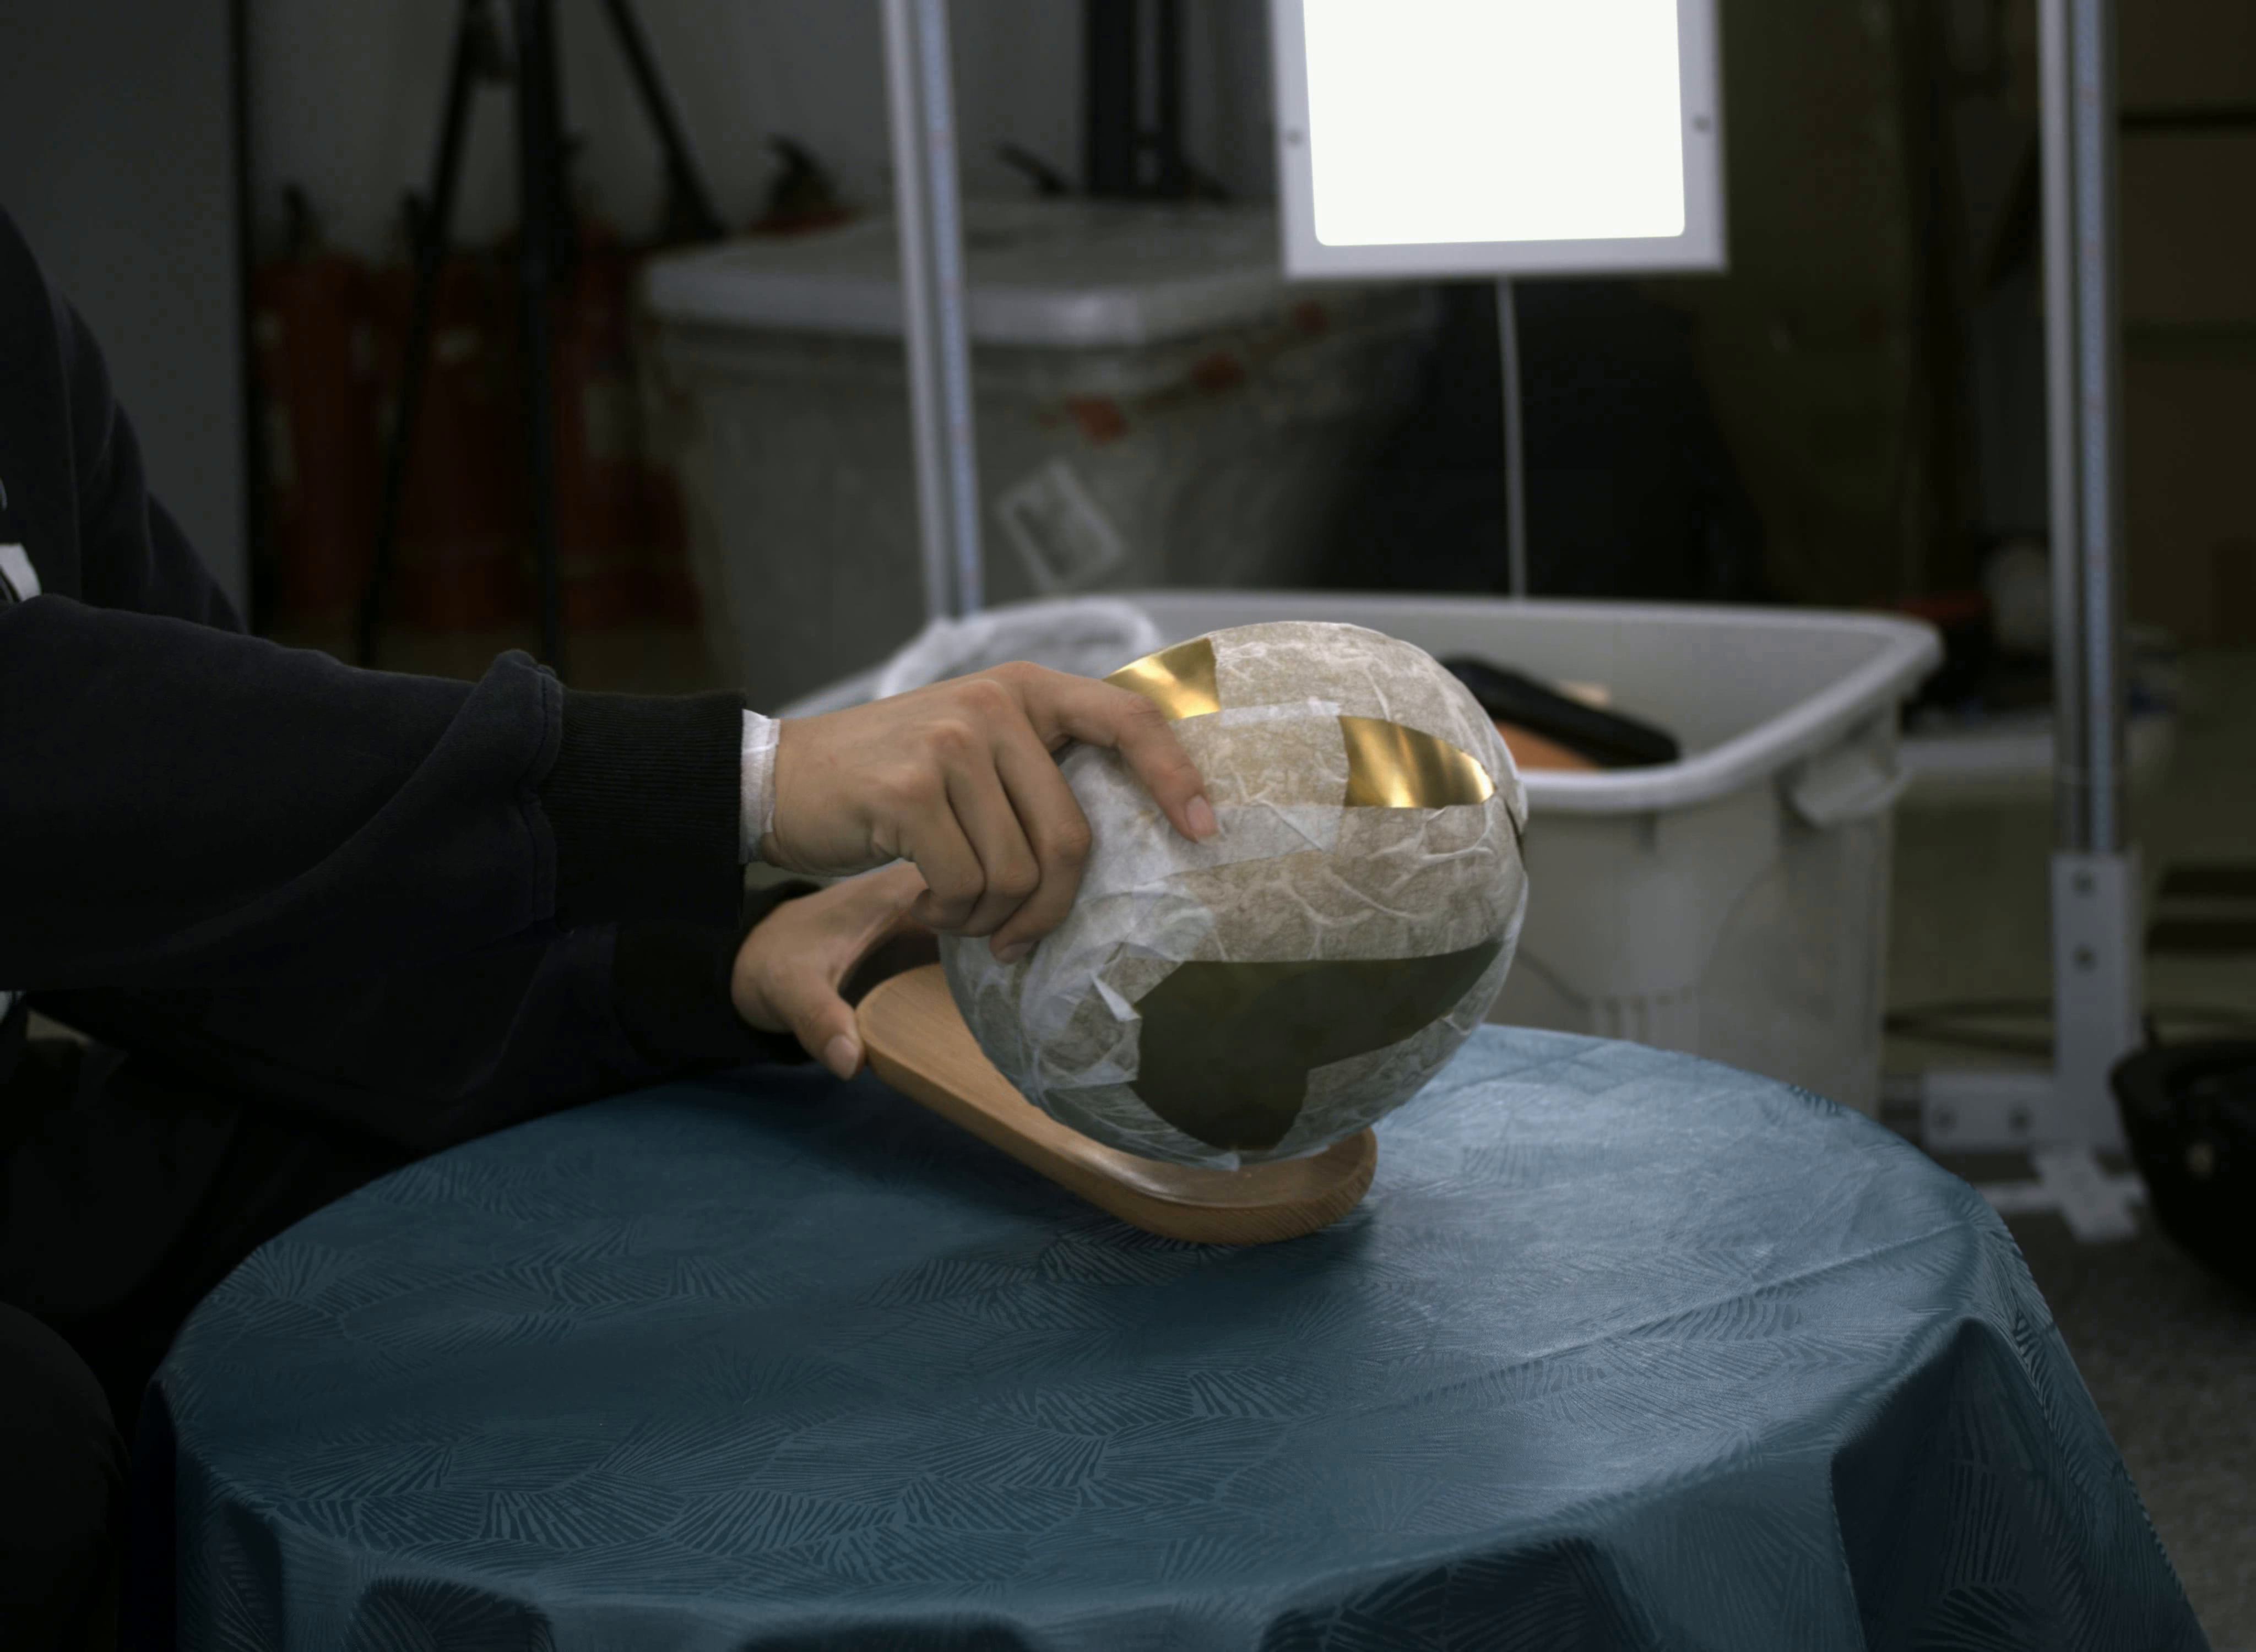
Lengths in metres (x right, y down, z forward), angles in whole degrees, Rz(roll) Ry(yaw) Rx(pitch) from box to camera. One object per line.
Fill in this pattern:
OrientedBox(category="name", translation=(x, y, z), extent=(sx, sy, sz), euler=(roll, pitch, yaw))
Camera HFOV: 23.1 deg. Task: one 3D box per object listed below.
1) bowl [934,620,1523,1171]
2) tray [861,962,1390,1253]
OrientedBox(category="bowl", translation=(0.043, 0.043, 1.792), extent=(0.211, 0.216, 0.095), euler=(-8, 41, -17))
OrientedBox(category="tray", translation=(-0.003, 0.095, 1.915), extent=(0.099, 0.020, 0.235), euler=(-21, 32, -33))
